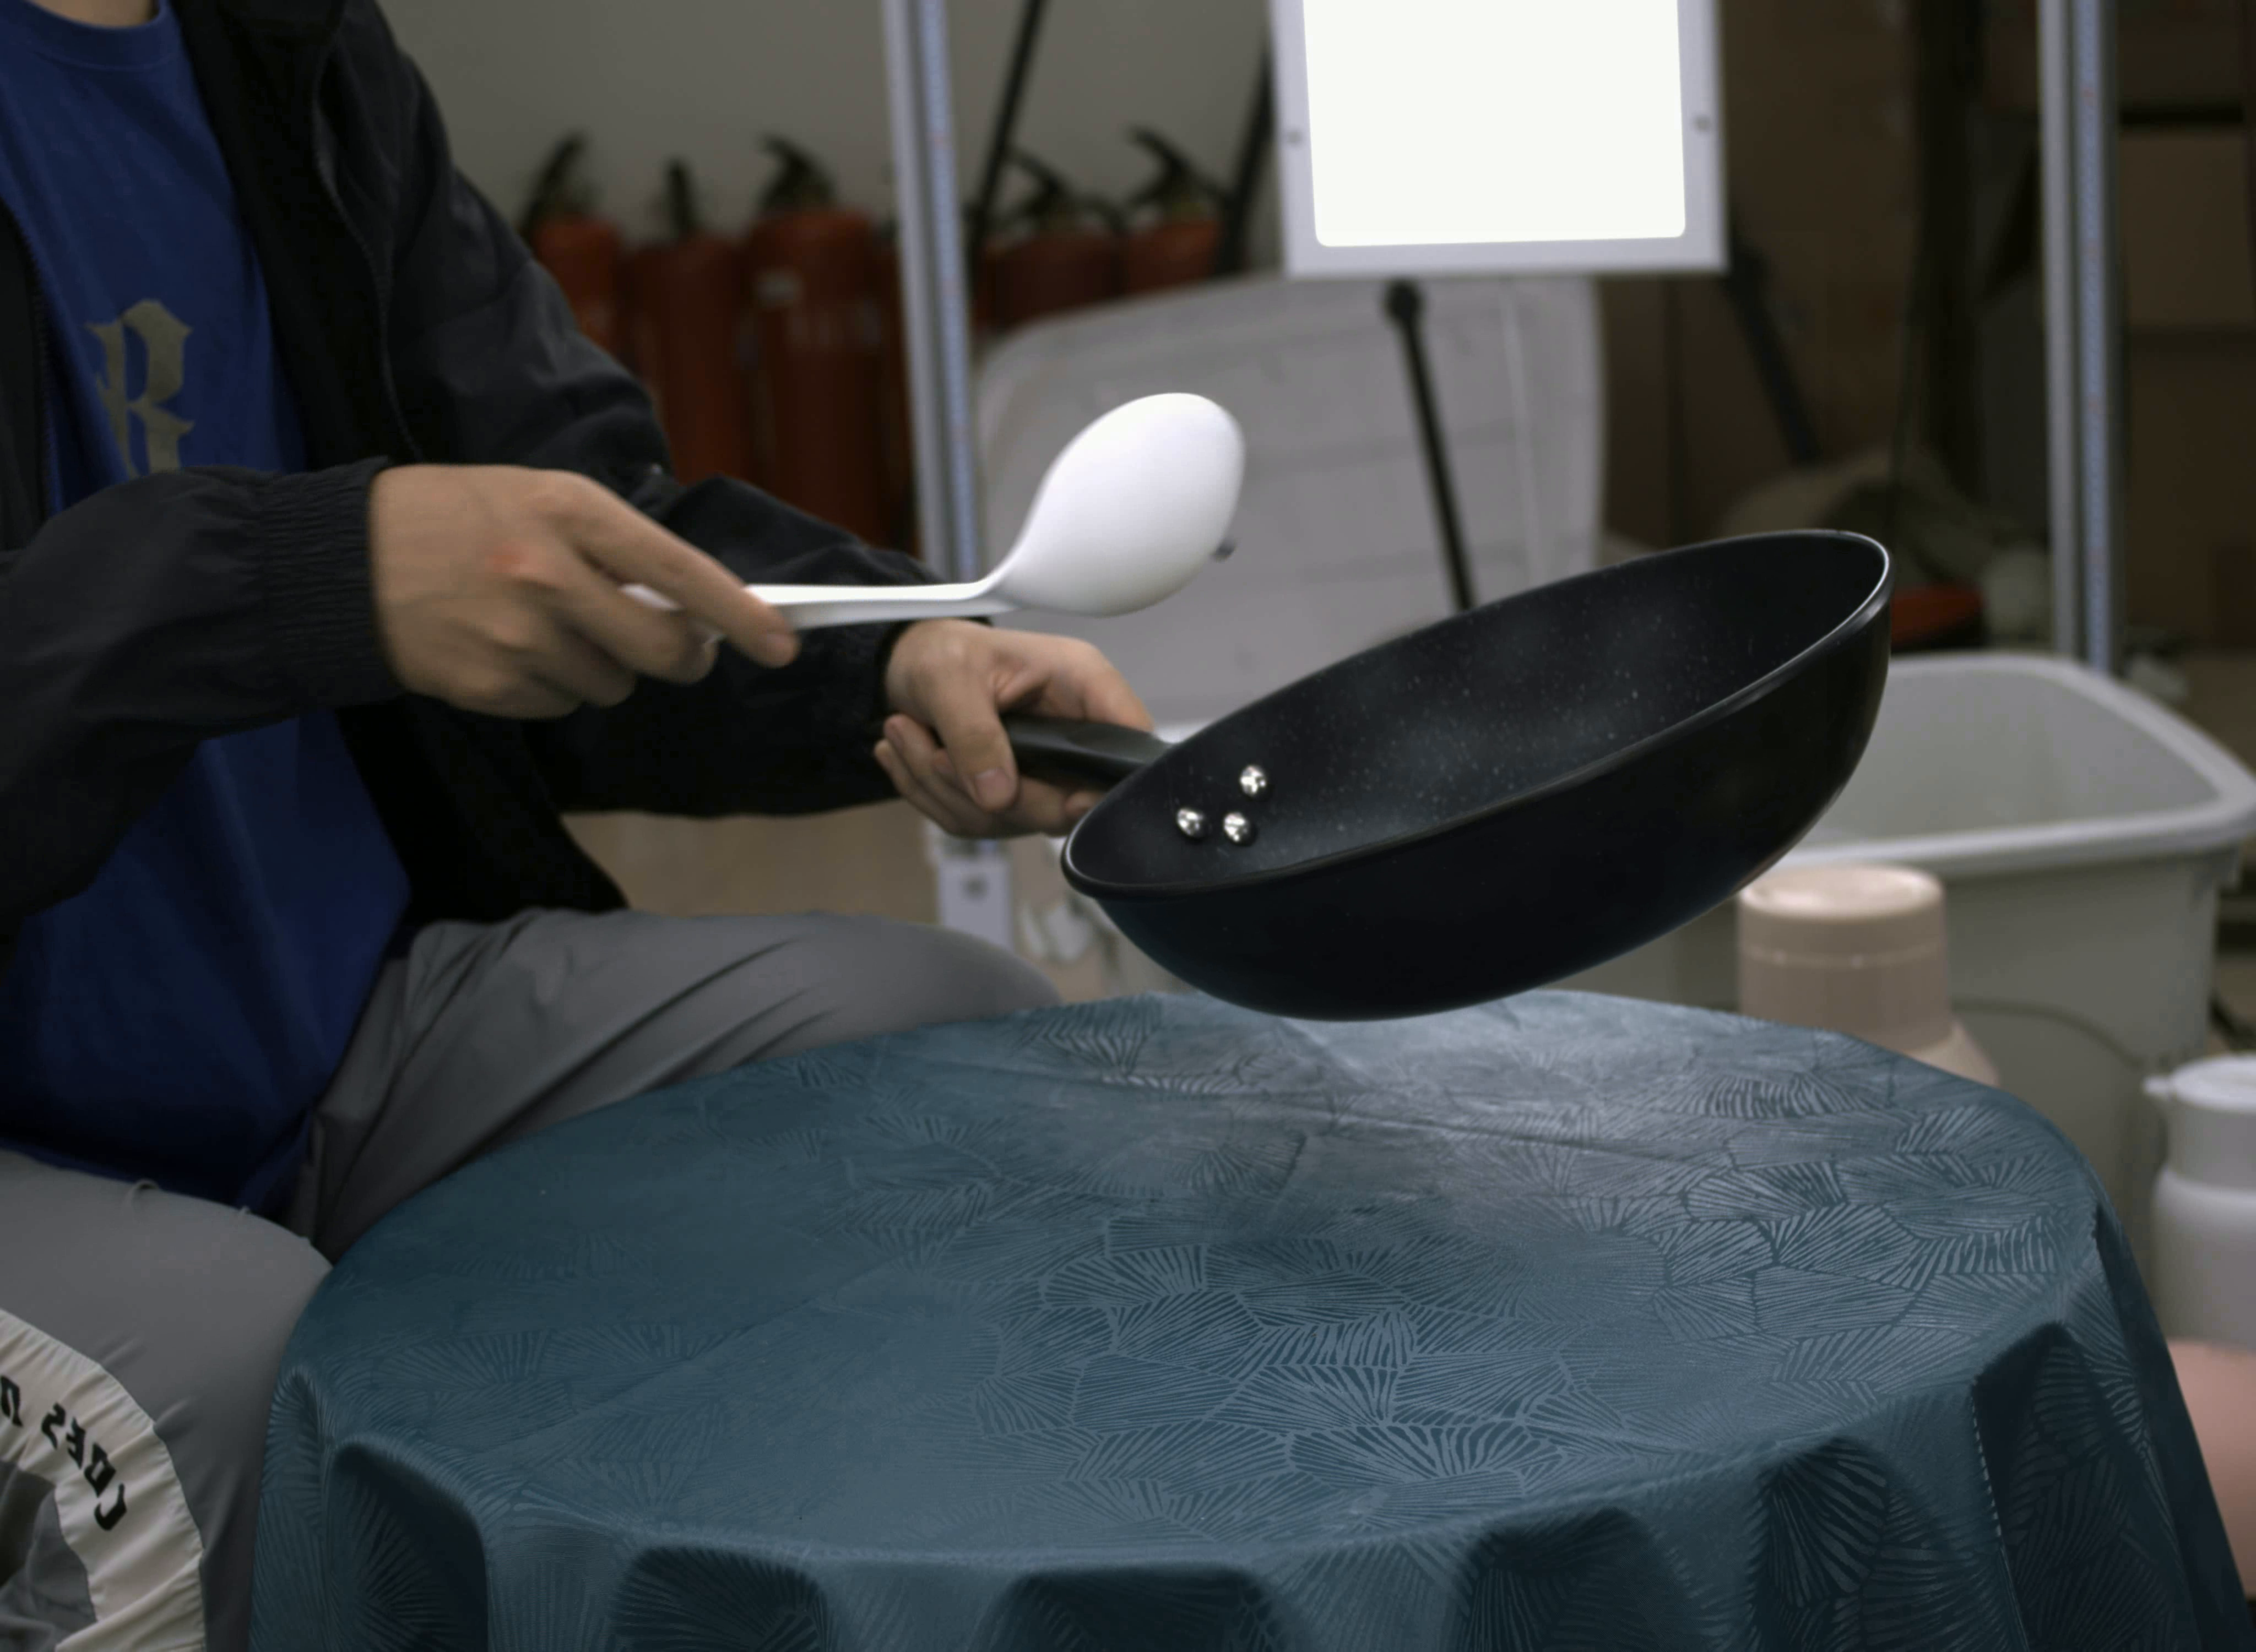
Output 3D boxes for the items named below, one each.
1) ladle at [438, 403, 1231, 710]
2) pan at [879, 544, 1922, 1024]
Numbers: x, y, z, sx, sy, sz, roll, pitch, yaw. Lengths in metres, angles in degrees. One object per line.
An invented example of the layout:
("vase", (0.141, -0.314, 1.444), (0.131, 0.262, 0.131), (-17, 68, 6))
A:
("ladle", (-0.103, -0.091, 1.884), (0.297, 0.070, 0.088), (-7, -11, 24))
("pan", (0.081, -0.009, 1.971), (0.303, 0.112, 0.488), (-29, 15, -38))
